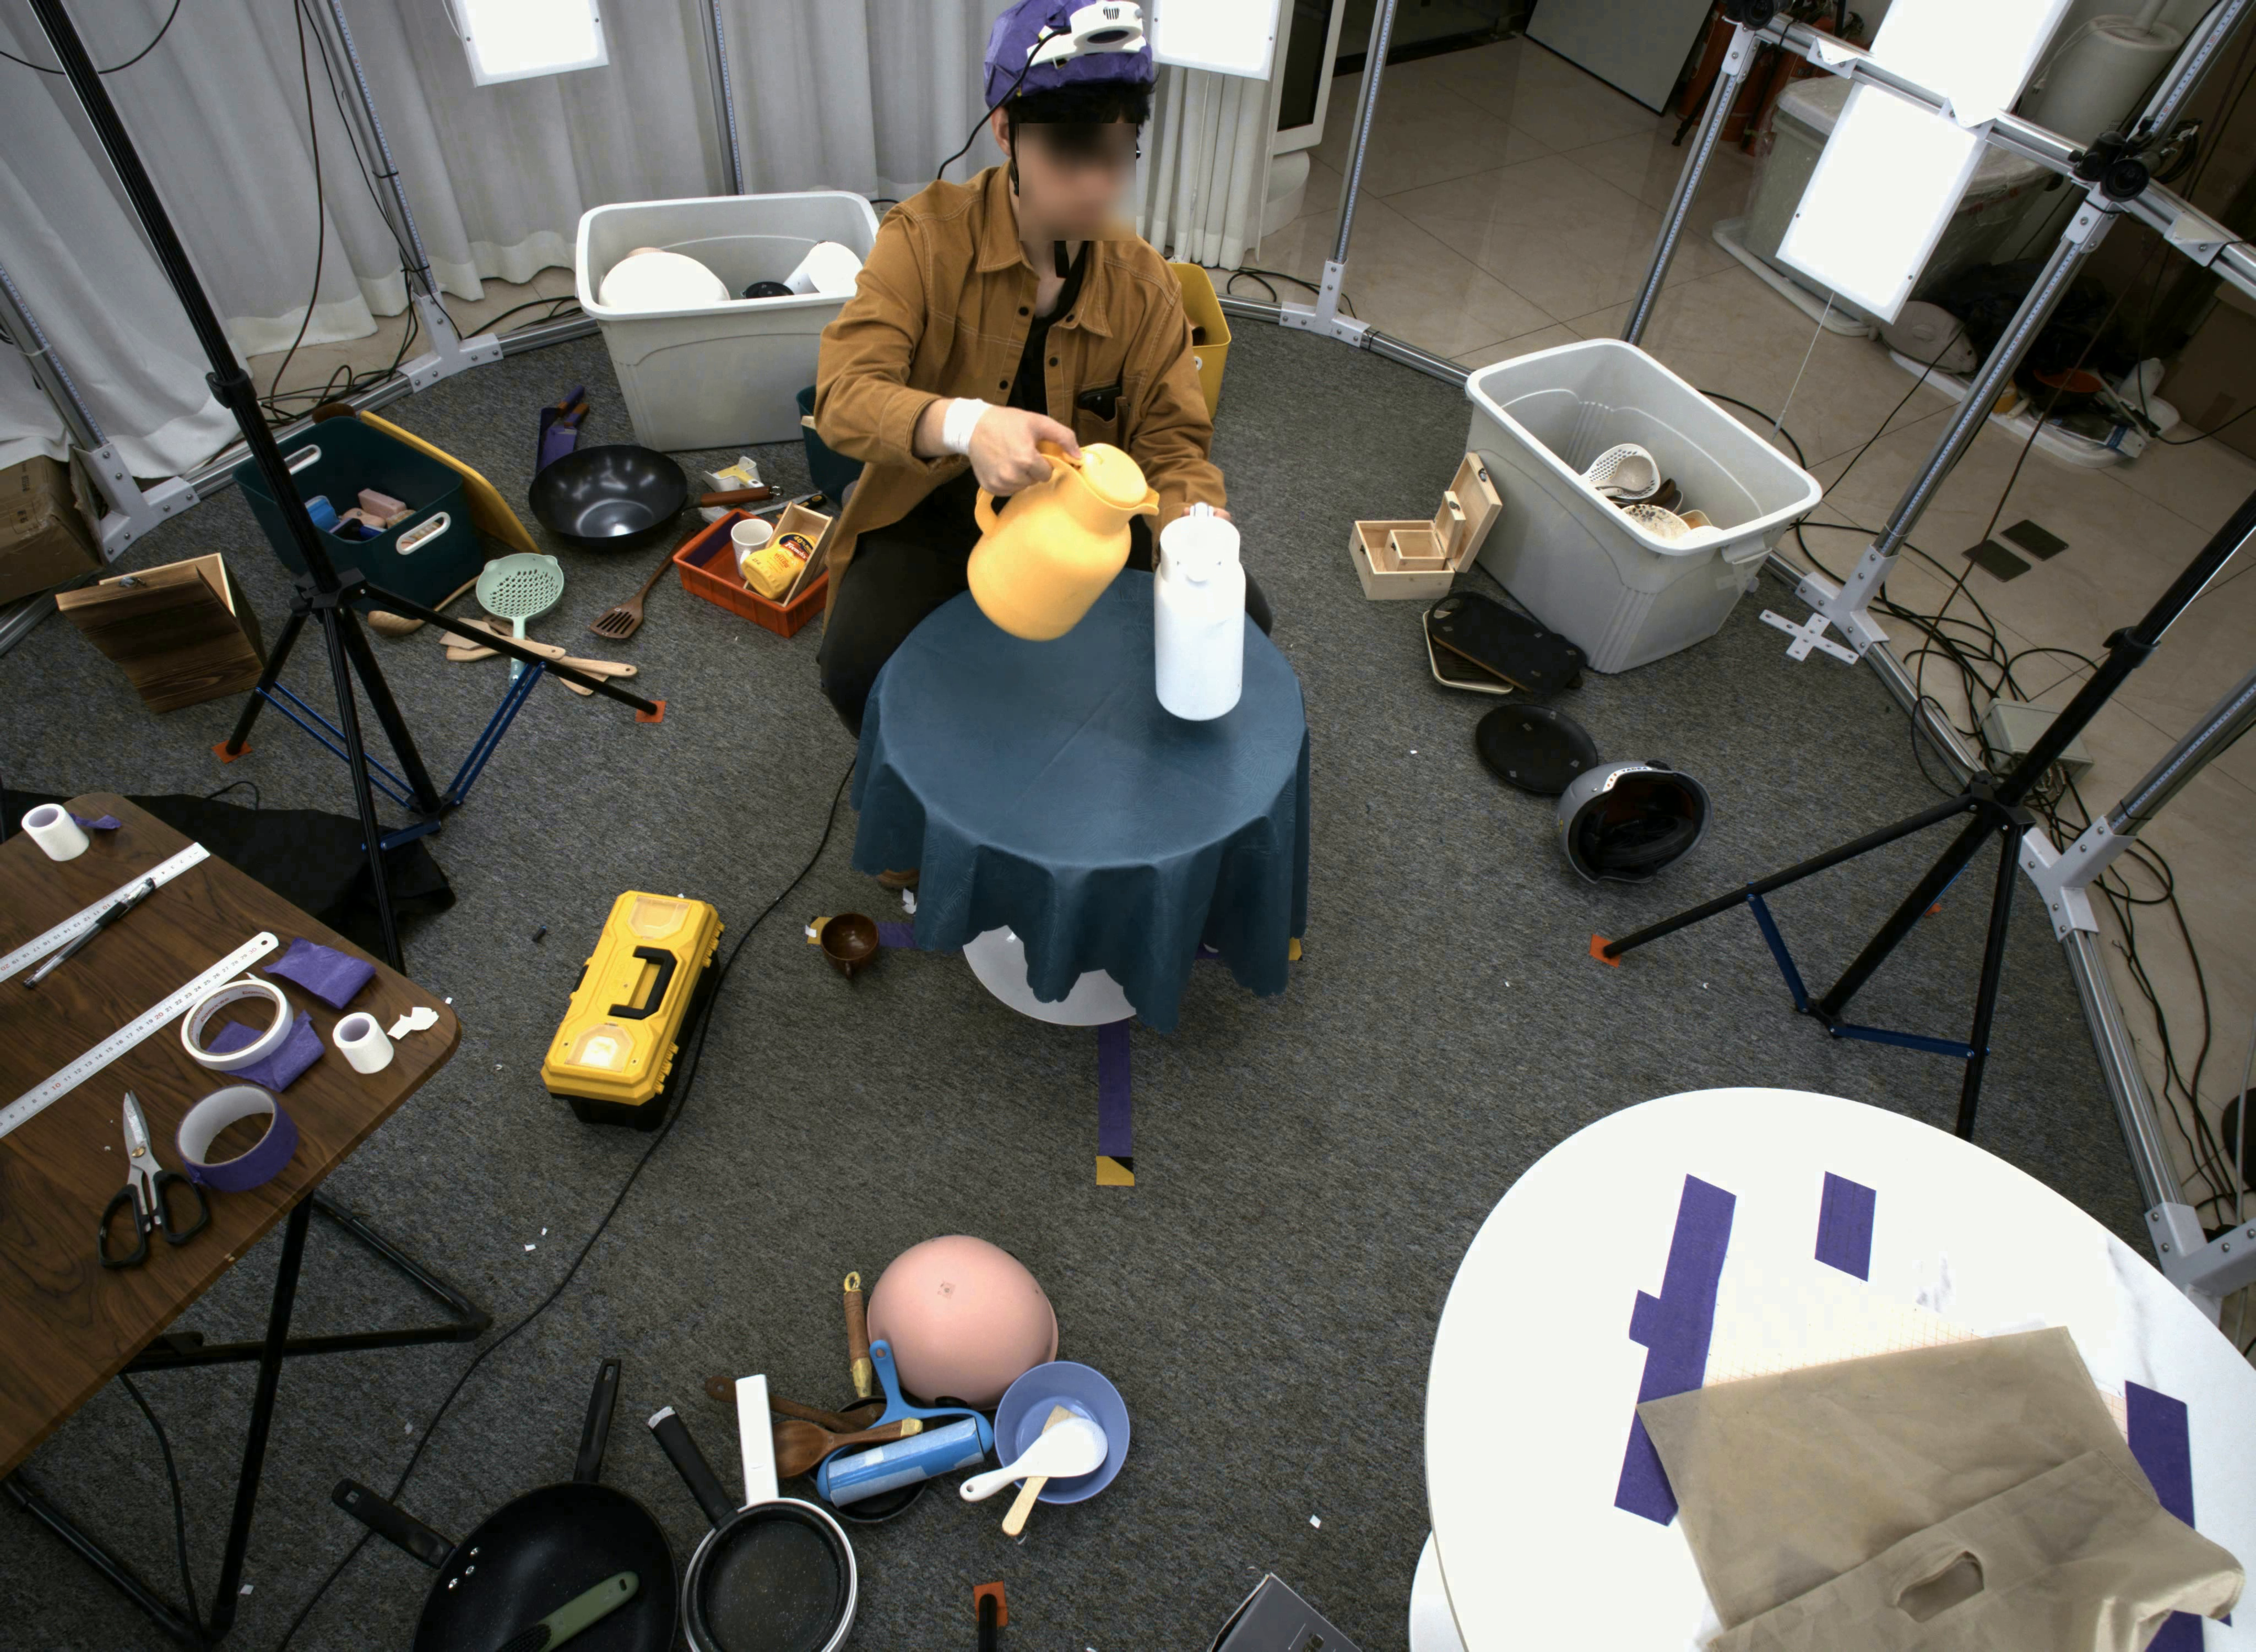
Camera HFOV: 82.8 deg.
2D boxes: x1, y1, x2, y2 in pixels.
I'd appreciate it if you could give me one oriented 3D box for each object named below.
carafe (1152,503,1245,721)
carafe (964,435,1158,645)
[{"bbox_3d":[0.091,-0.280,1.679,0.124,0.262,0.177,0,49,5],"label":"carafe"},{"bbox_3d":[-0.097,-0.358,1.566,0.200,0.256,0.167,23,46,-22],"label":"carafe"}]
